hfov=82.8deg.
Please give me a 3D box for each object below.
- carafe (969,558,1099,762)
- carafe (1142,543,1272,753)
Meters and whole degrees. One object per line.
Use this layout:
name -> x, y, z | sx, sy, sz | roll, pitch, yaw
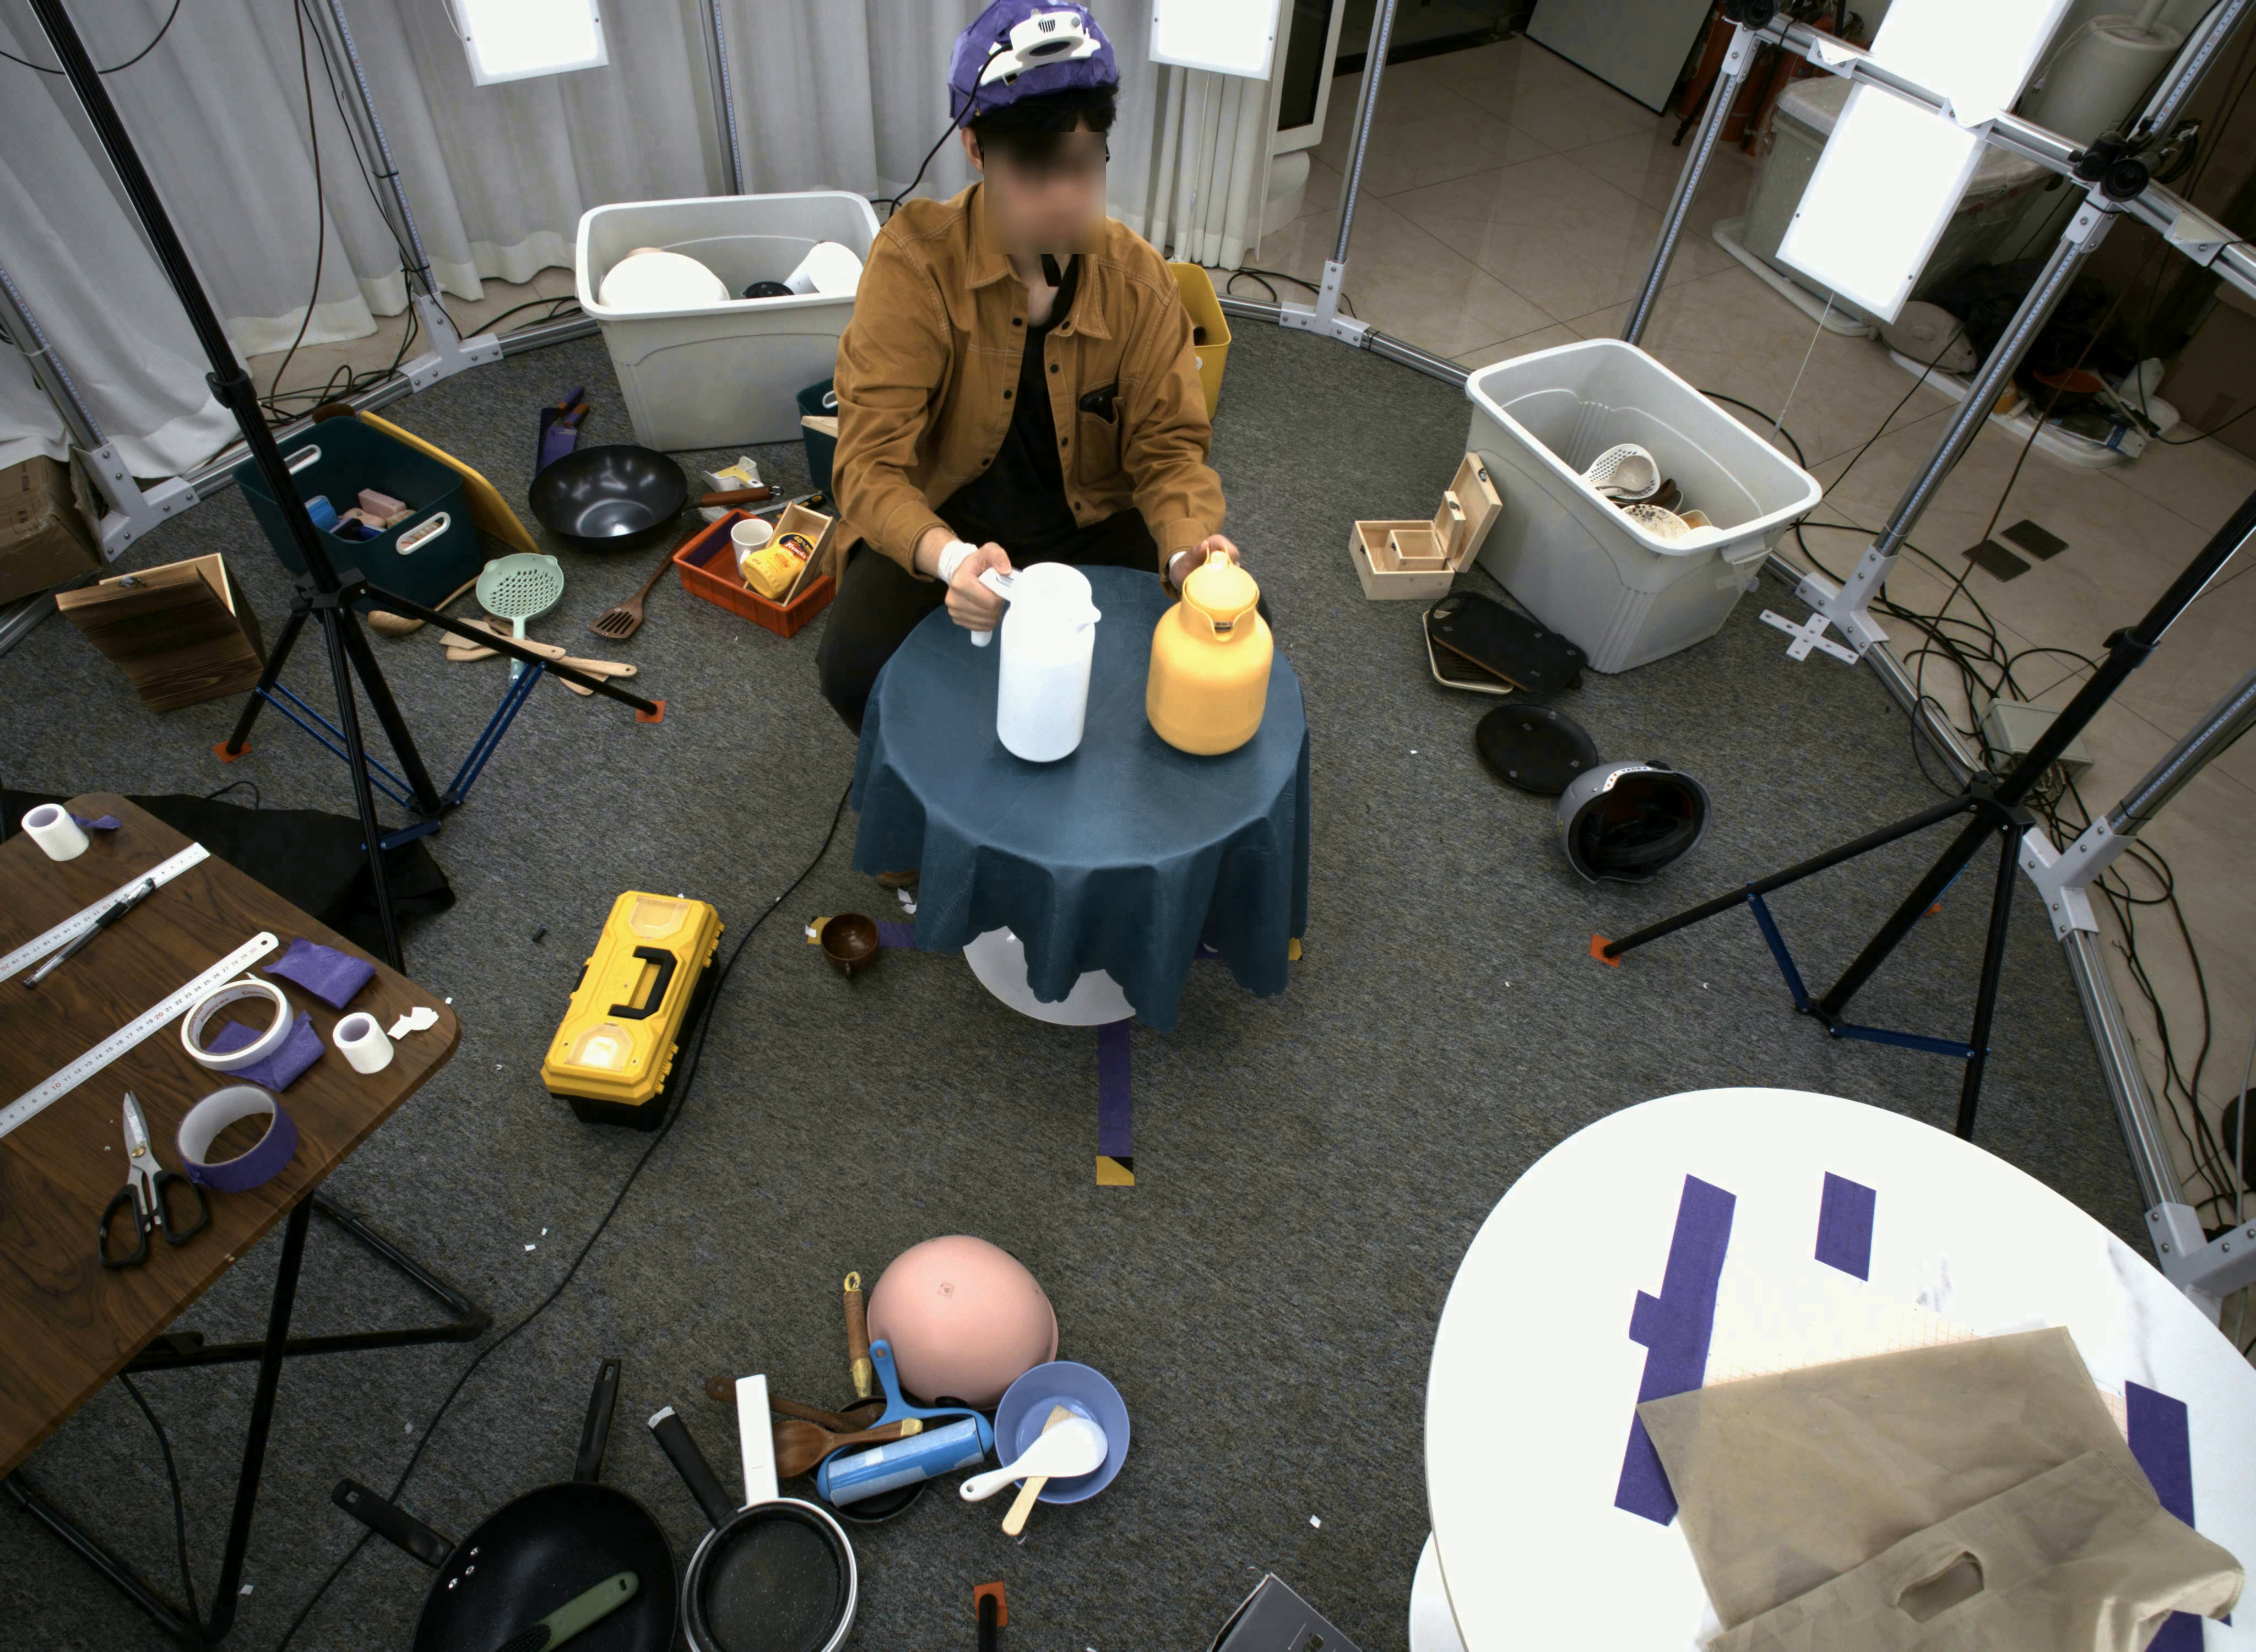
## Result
carafe -> -0.124, -0.213, 1.644 | 0.174, 0.263, 0.126 | 26, 56, 13
carafe -> 0.110, -0.243, 1.707 | 0.163, 0.254, 0.207 | 5, 52, -3
